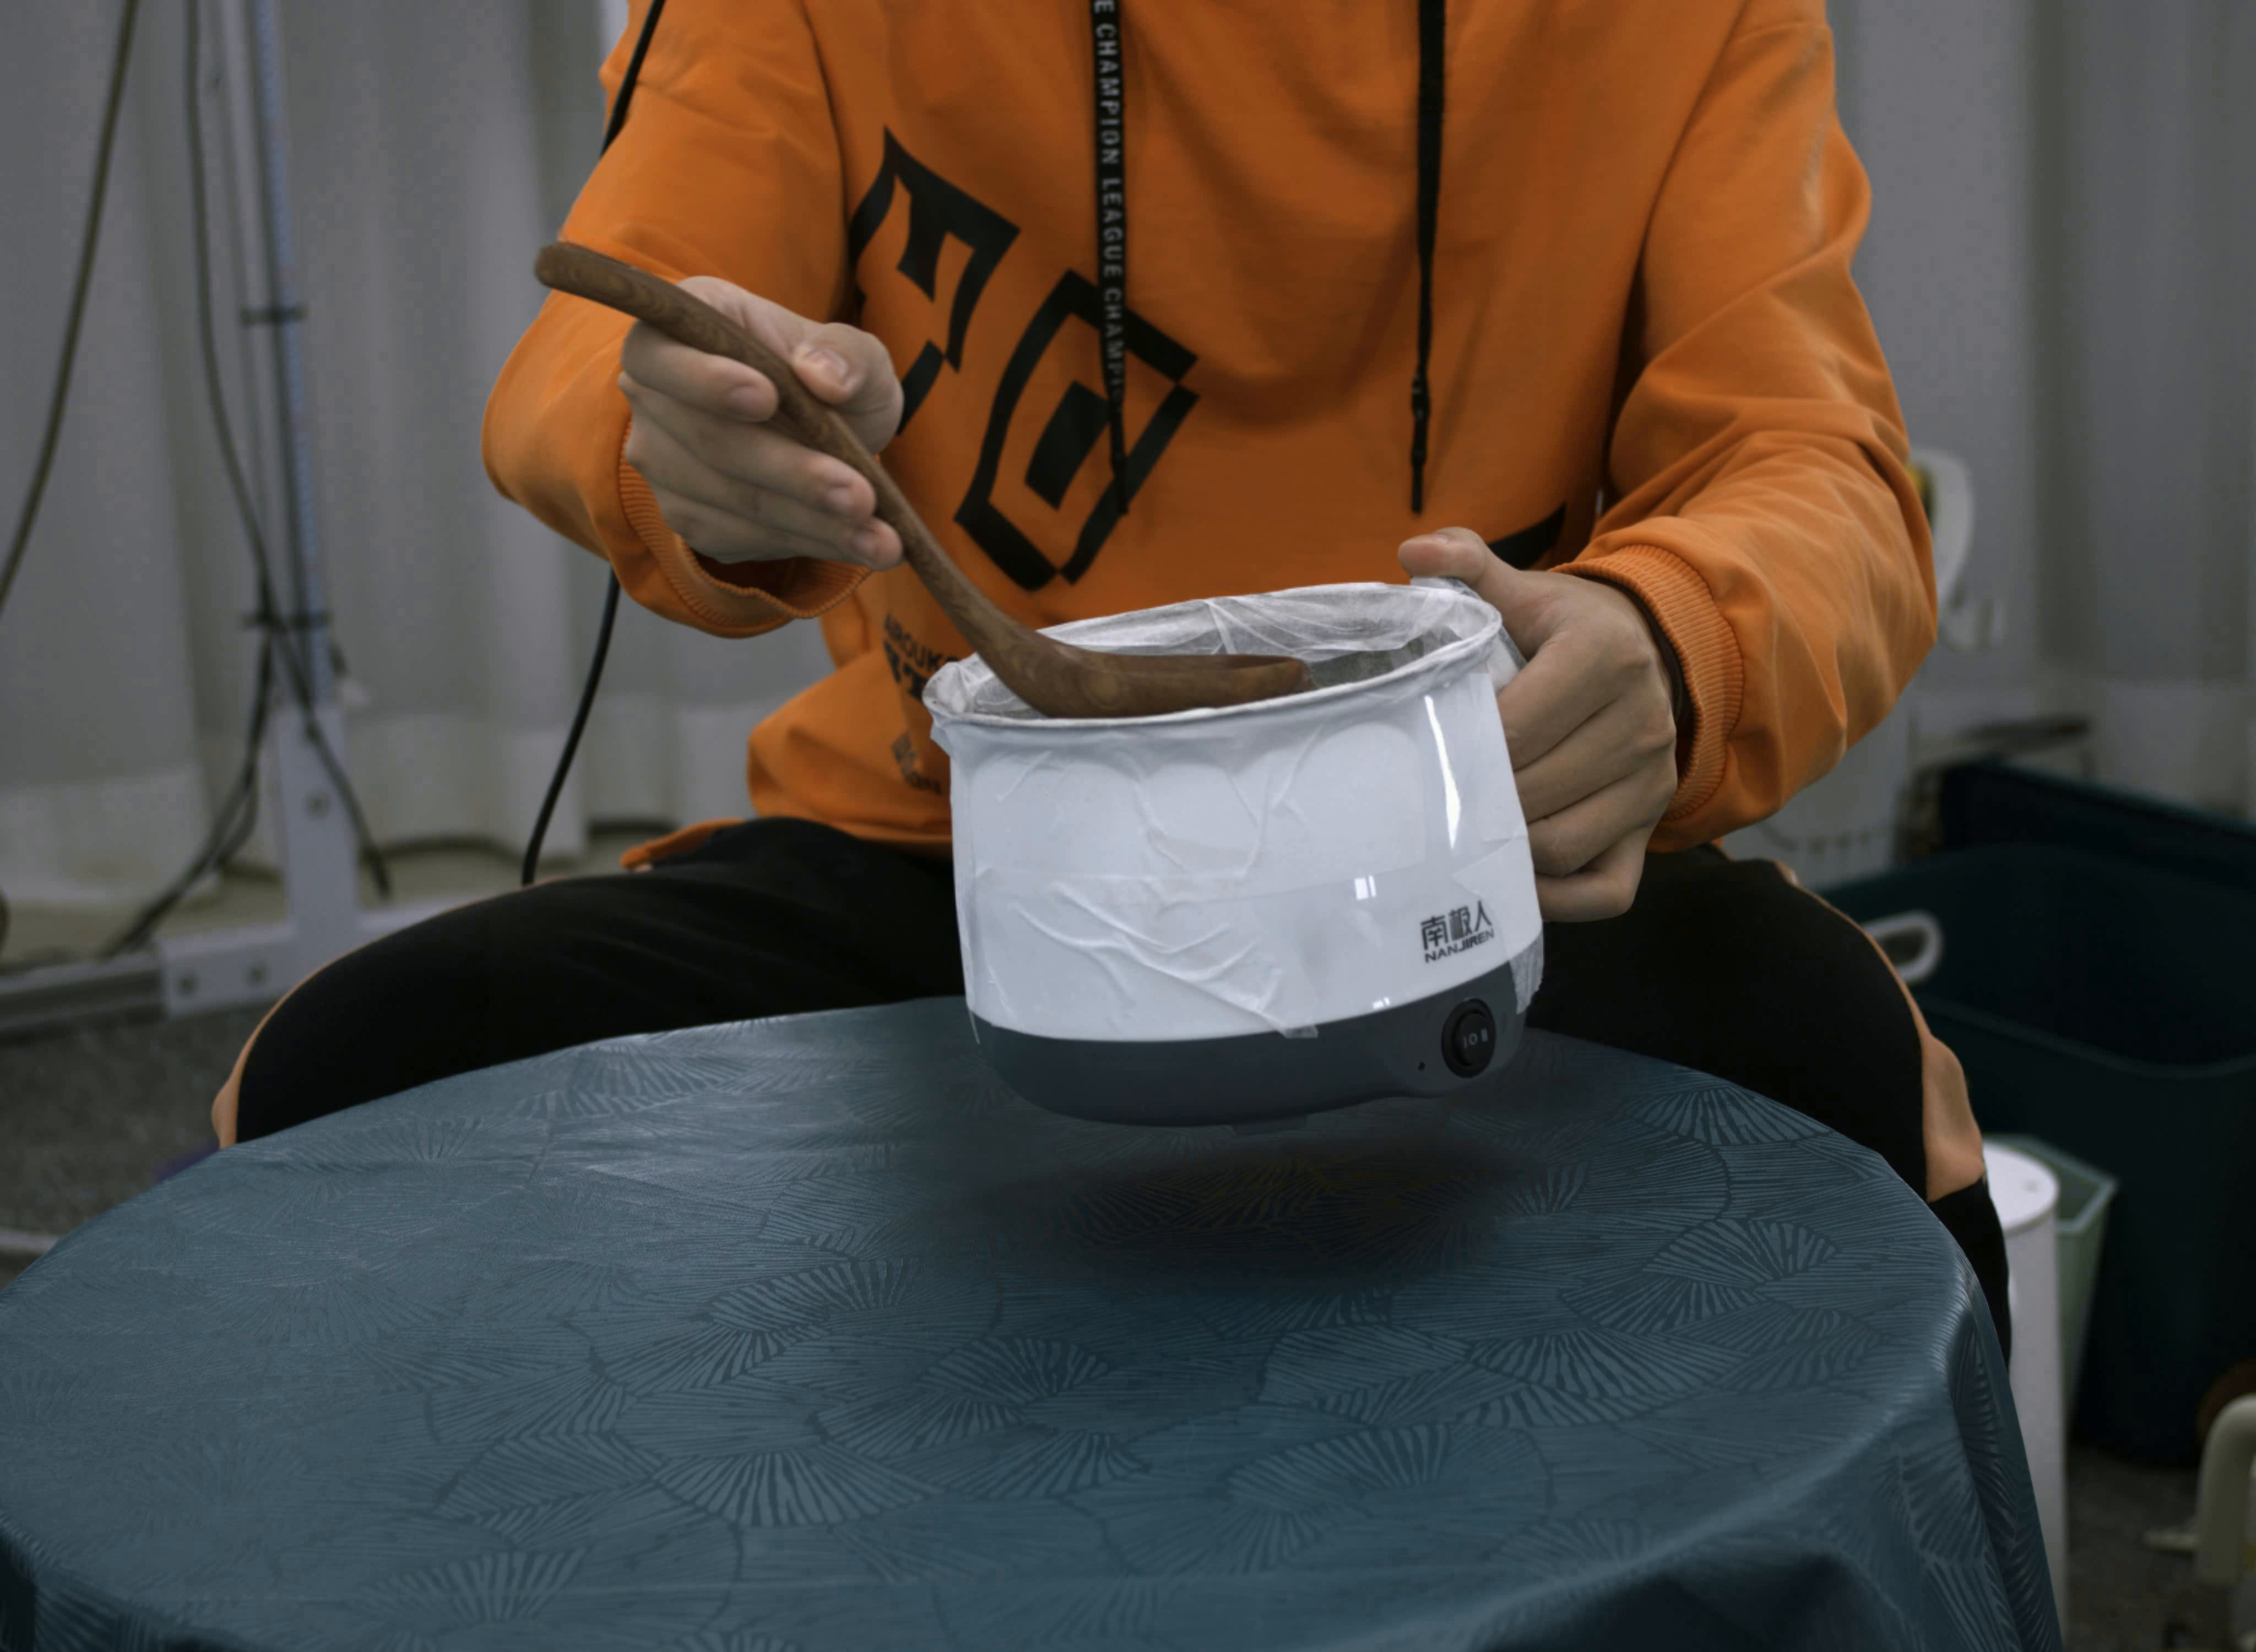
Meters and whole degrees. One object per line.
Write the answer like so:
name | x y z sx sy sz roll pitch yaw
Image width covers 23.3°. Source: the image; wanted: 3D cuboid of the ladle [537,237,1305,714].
ladle | -0.059 -0.105 1.619 0.260 0.065 0.076 41 2 1

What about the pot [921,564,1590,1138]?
pot | 0.052 0.002 1.679 0.179 0.136 0.233 5 18 44
